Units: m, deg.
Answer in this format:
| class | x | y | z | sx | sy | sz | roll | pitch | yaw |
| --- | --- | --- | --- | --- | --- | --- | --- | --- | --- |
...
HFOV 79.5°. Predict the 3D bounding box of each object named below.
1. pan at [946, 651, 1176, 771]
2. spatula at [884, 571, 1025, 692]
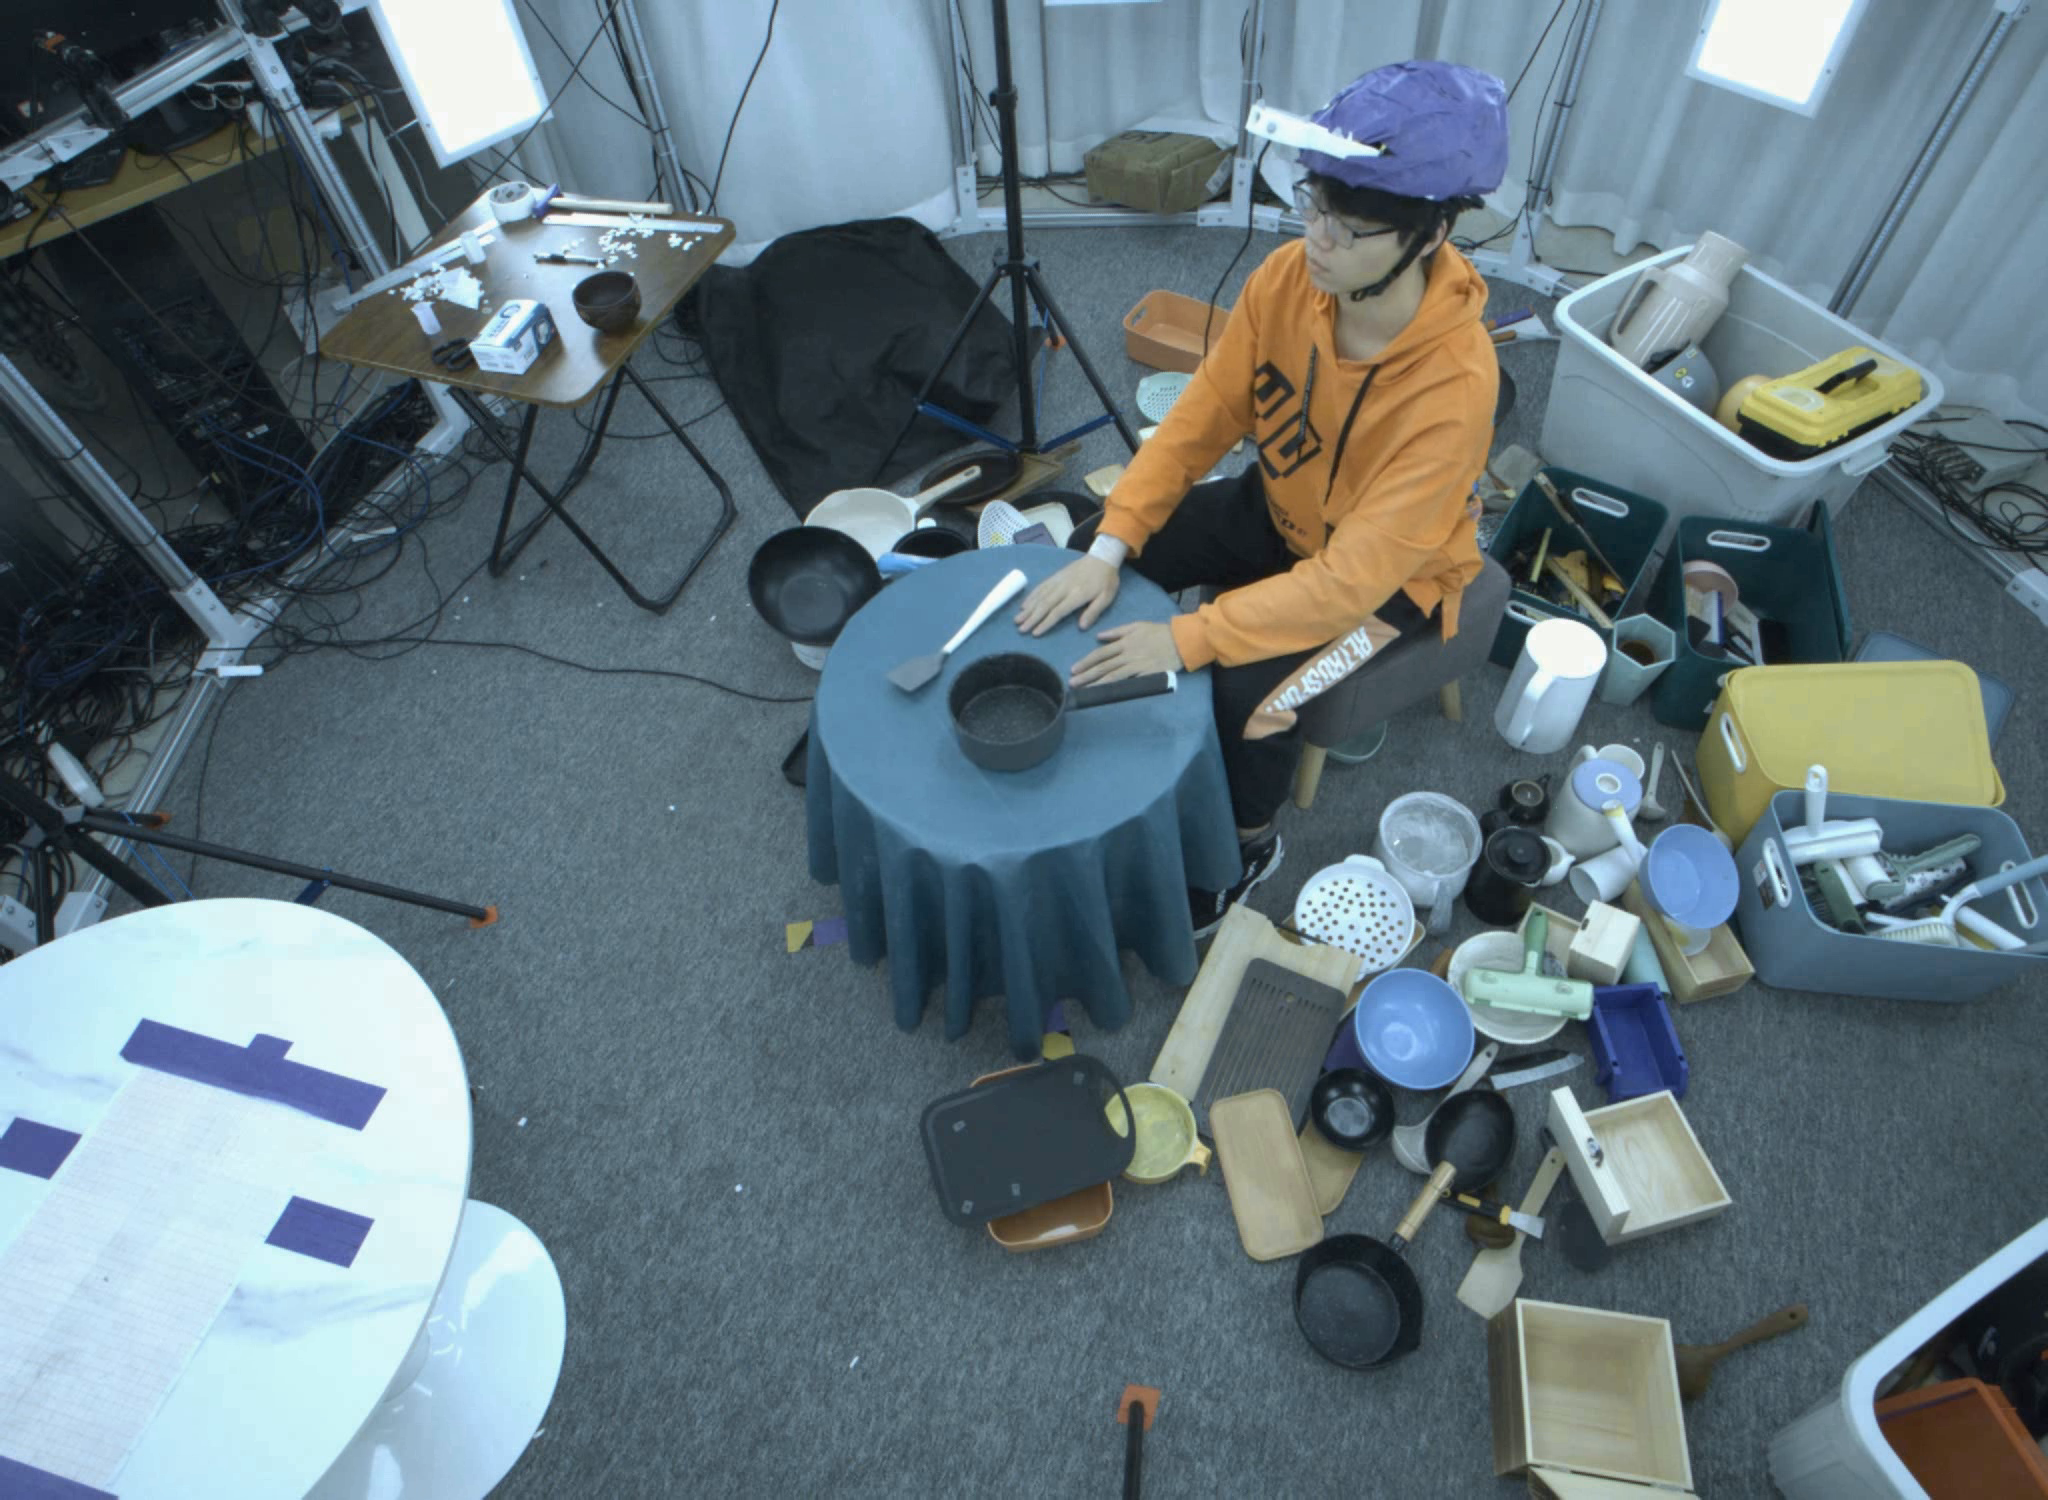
| class | x | y | z | sx | sy | sz | roll | pitch | yaw |
| --- | --- | --- | --- | --- | --- | --- | --- | --- | --- |
| pan | 0.055 | -0.062 | 1.776 | 0.328 | 0.087 | 0.170 | -4 | 55 | 2 |
| spatula | -0.102 | -0.183 | 1.901 | 0.058 | 0.032 | 0.289 | 35 | 62 | 19 |
